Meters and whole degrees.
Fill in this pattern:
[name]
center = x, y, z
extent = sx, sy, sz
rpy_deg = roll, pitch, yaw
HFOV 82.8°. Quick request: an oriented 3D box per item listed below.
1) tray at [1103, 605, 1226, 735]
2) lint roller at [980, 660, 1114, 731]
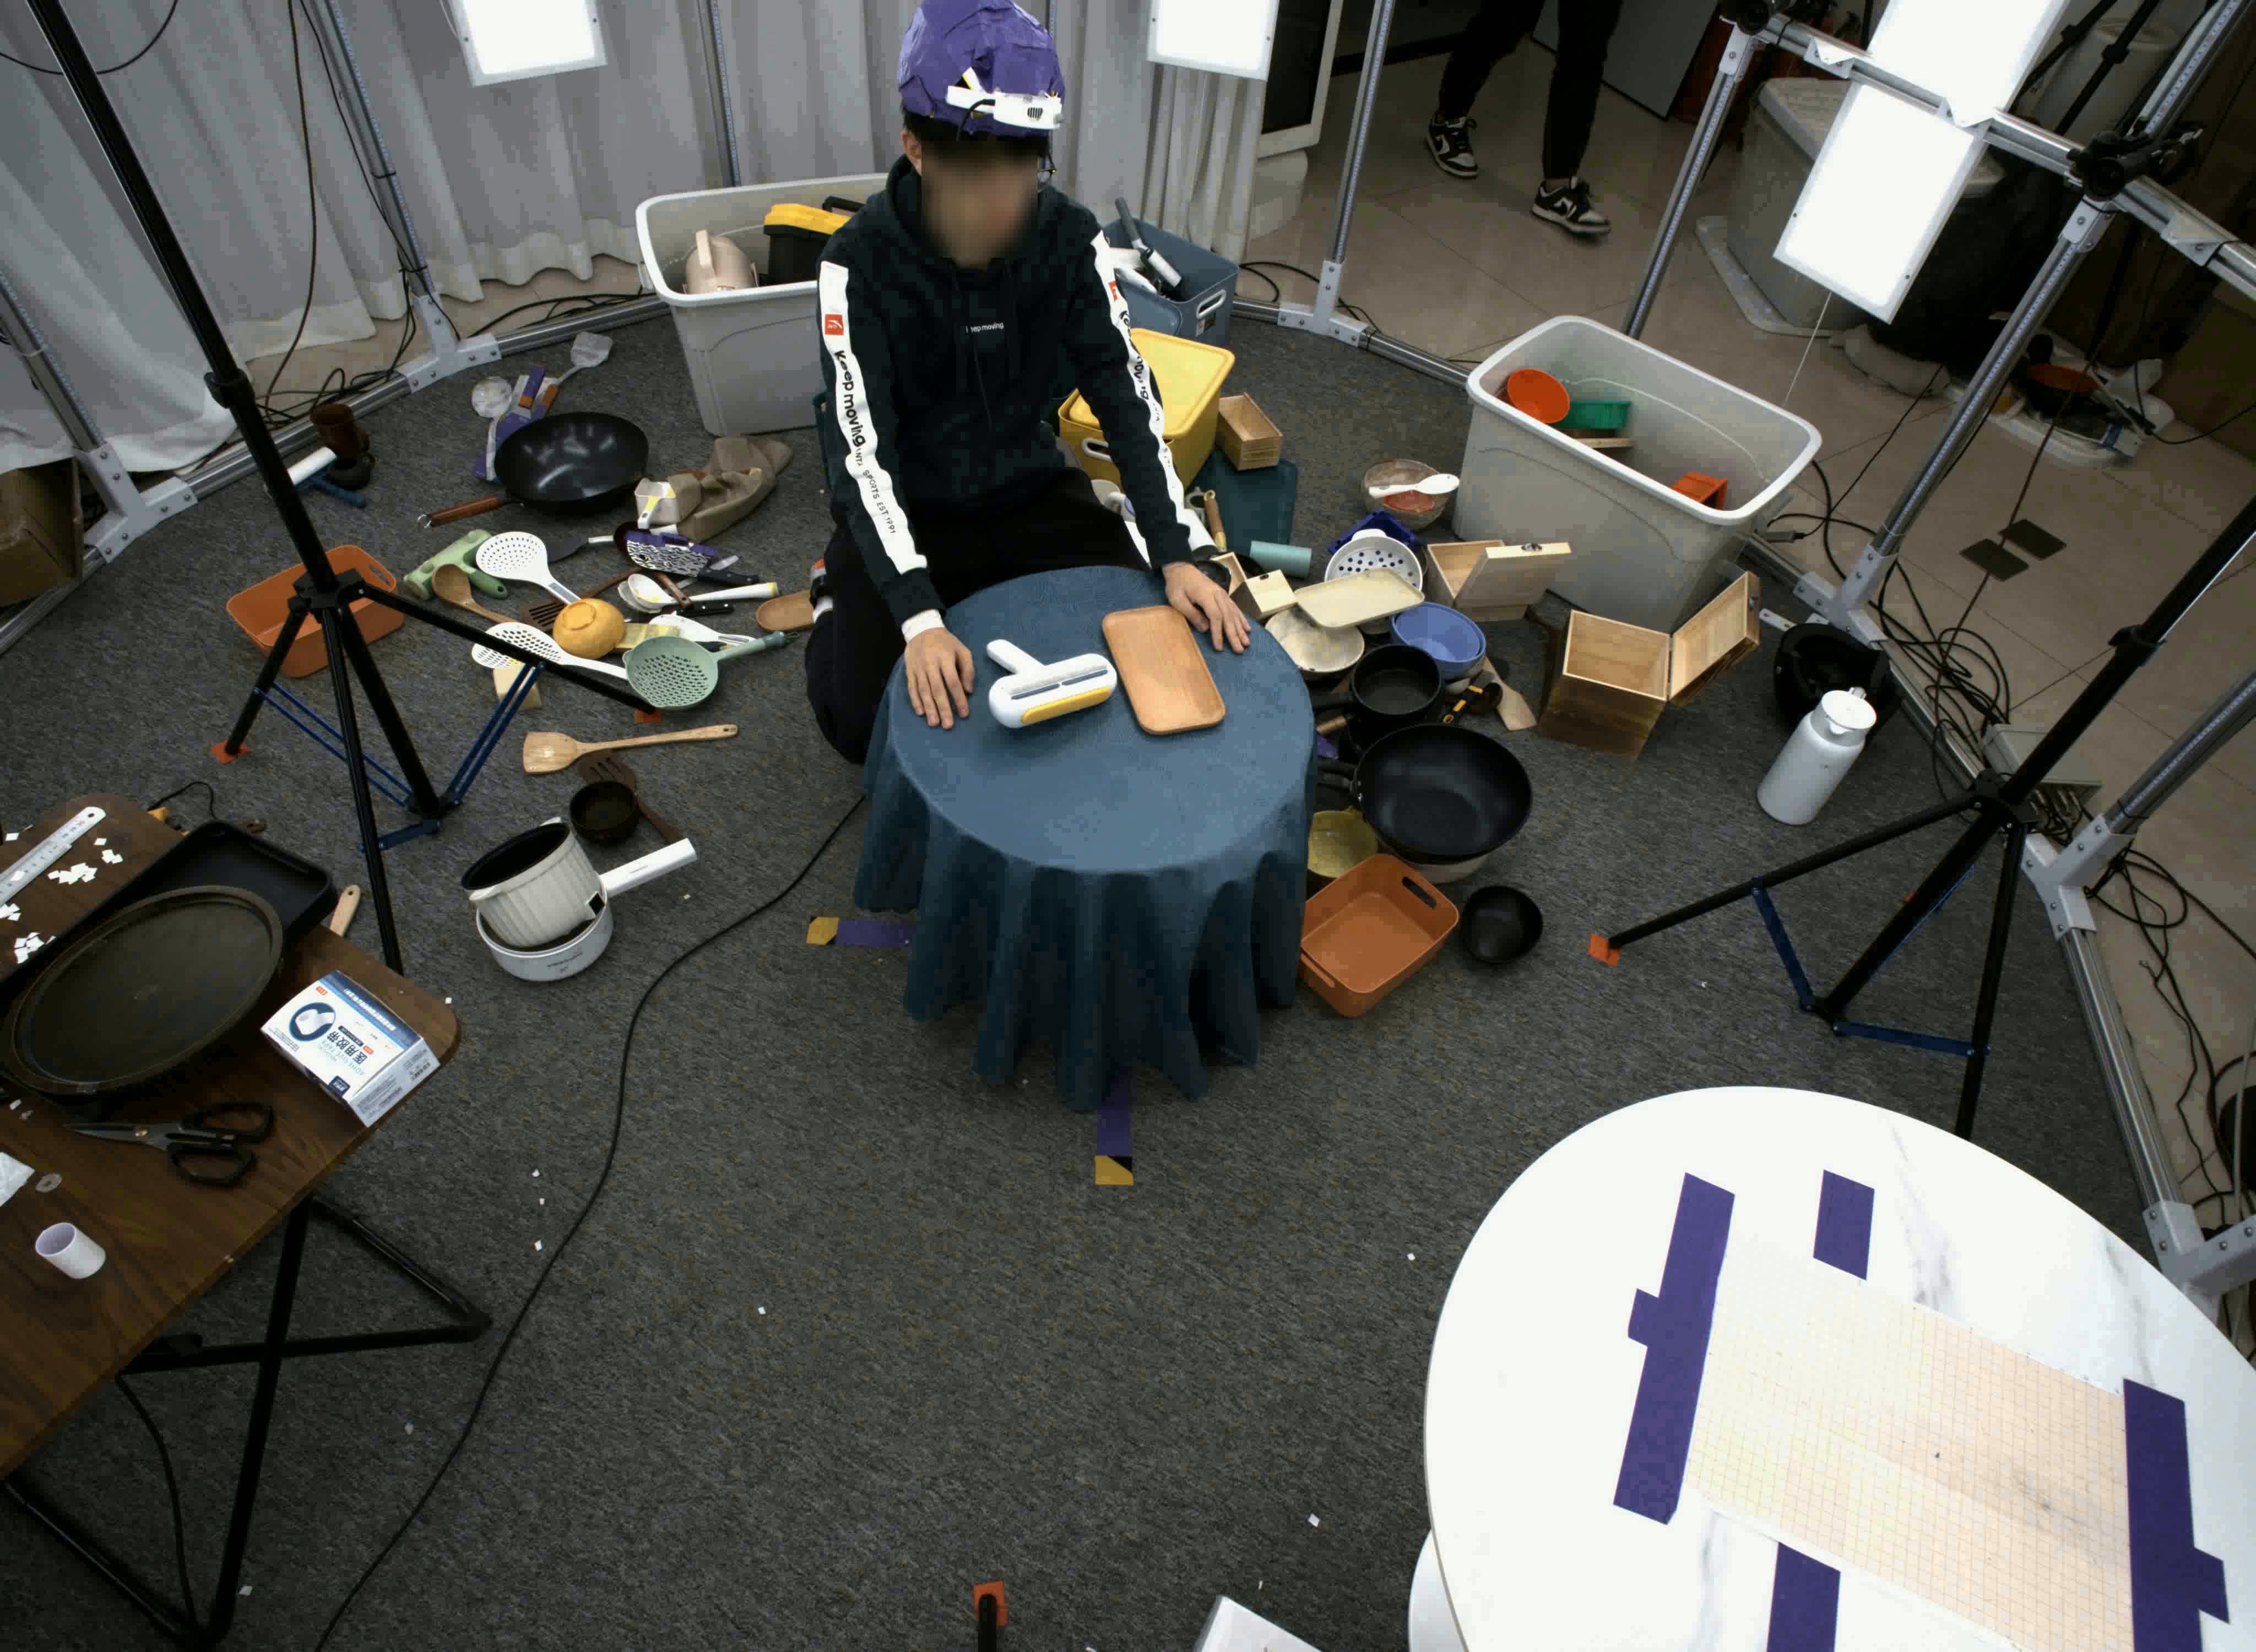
[tray]
center = 0.050, -0.229, 1.859
extent = 0.130, 0.022, 0.257
rpy_deg = -8, 49, -13
[lint roller]
center = -0.139, -0.203, 1.816
extent = 0.193, 0.072, 0.196
rpy_deg = -17, 38, -26
